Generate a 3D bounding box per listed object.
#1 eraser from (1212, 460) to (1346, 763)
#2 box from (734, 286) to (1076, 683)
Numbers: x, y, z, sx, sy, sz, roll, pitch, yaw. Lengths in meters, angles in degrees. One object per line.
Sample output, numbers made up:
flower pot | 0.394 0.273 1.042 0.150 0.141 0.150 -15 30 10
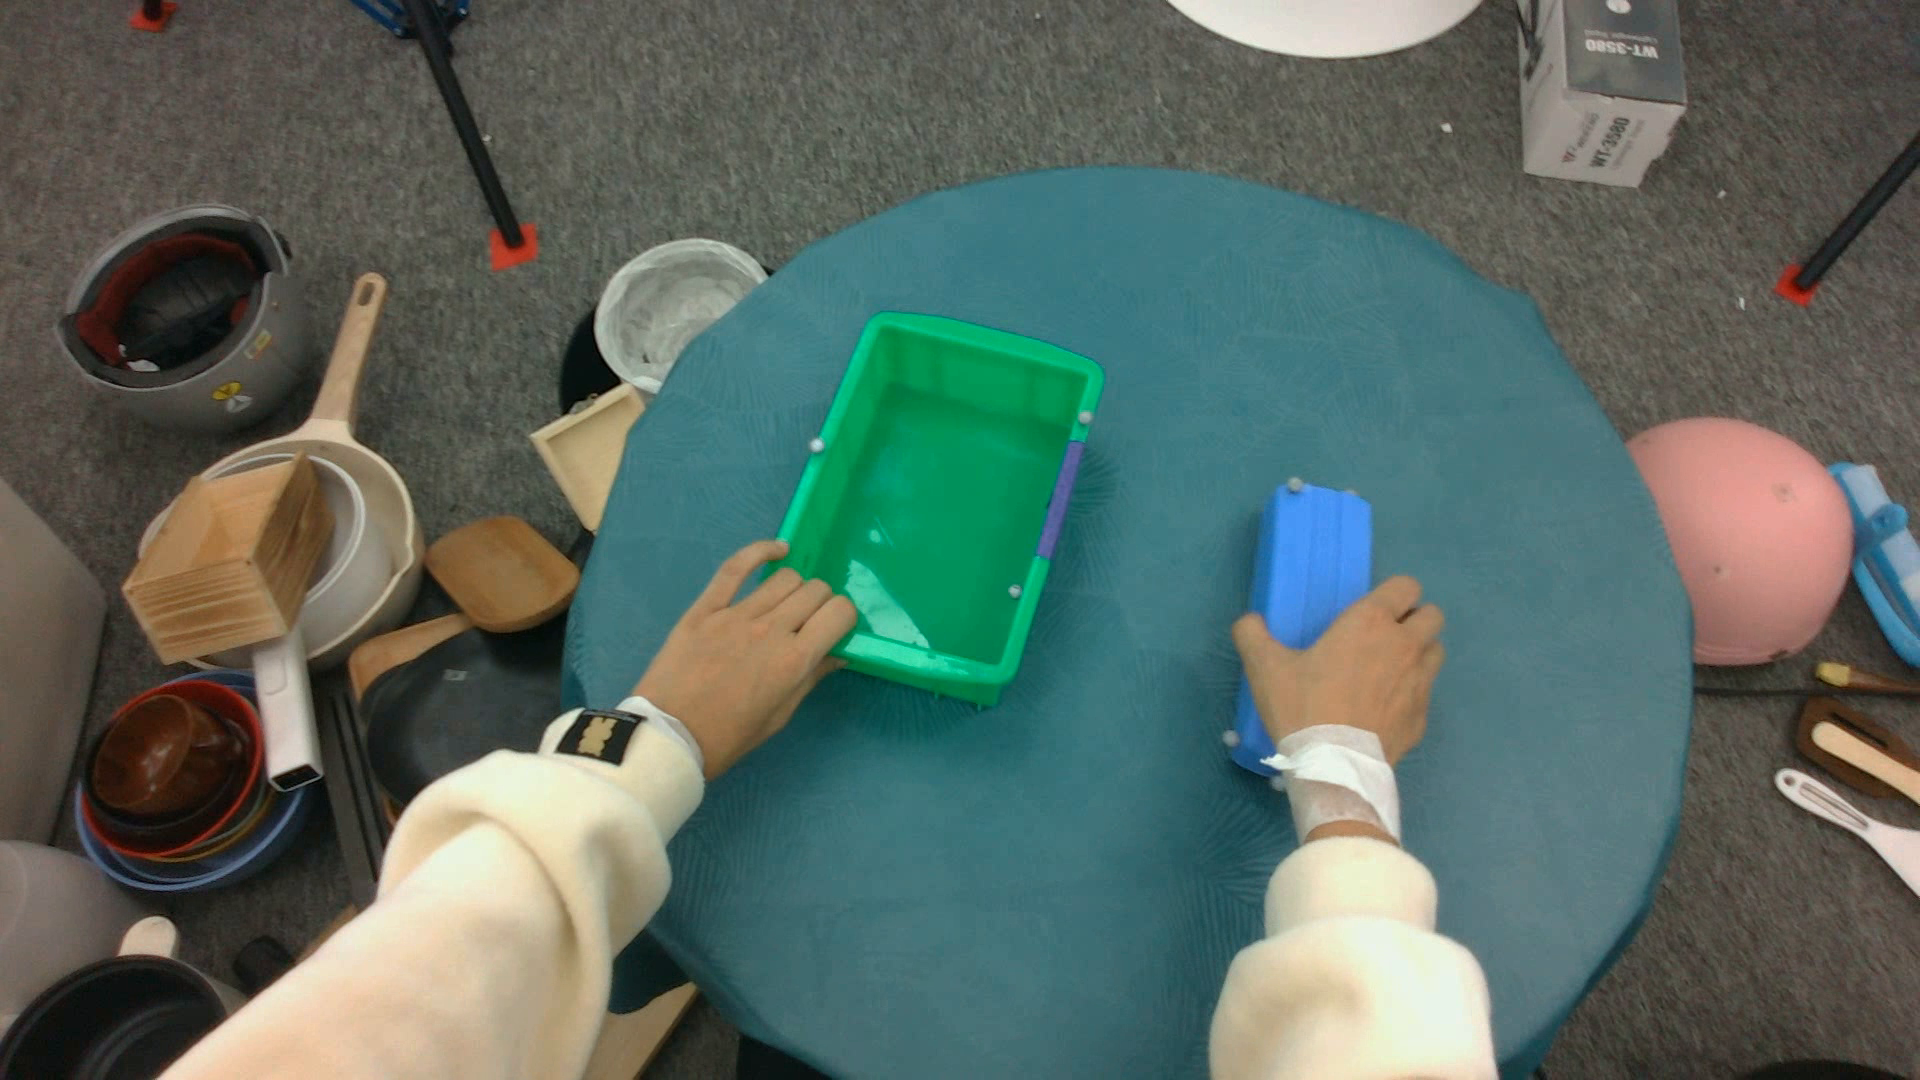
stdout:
eraser | 0.168 0.032 0.712 0.054 0.047 0.163 13 64 -2
box | -0.025 -0.029 0.739 0.138 0.065 0.211 13 62 4
